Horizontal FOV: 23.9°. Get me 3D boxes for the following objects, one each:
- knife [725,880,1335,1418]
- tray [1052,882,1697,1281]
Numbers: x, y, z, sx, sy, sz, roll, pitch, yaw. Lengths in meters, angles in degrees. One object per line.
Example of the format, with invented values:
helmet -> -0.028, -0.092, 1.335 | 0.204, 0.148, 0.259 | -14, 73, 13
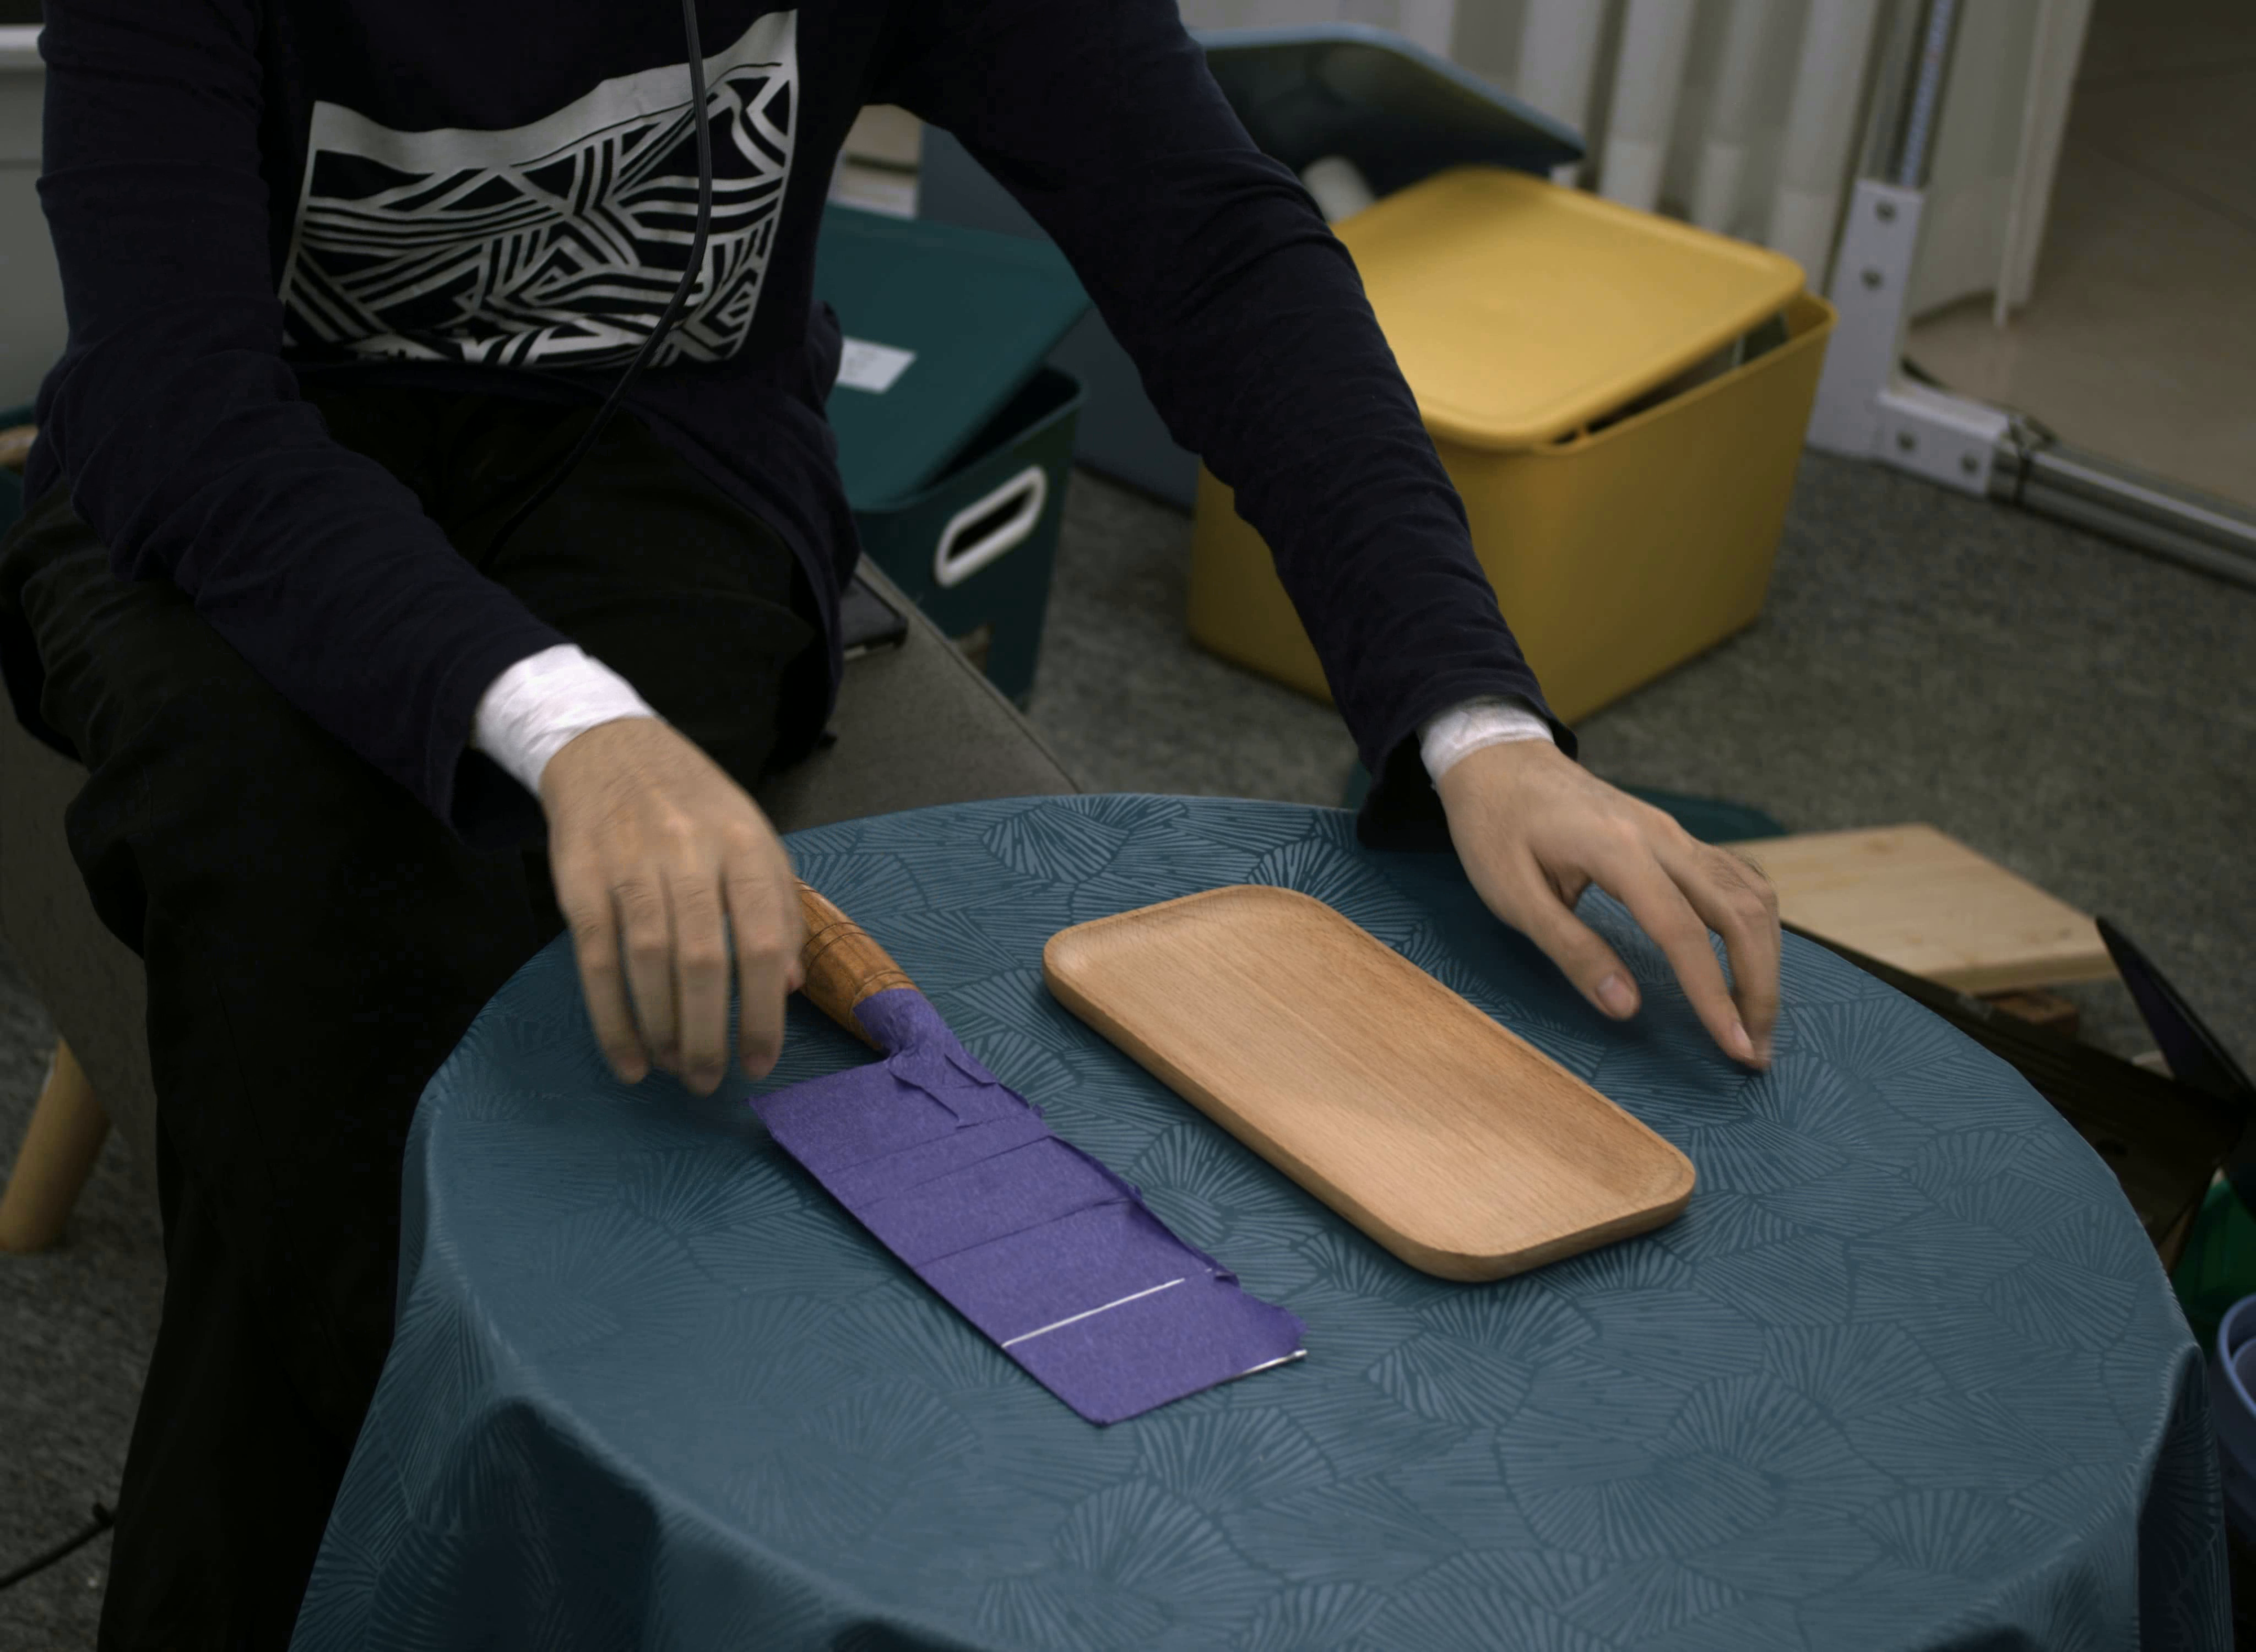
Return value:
knife -> -0.064, 0.105, 1.799 | 0.103, 0.032, 0.318 | -14, 34, -35
tray -> 0.083, 0.087, 1.879 | 0.129, 0.023, 0.253 | -10, 30, -33
